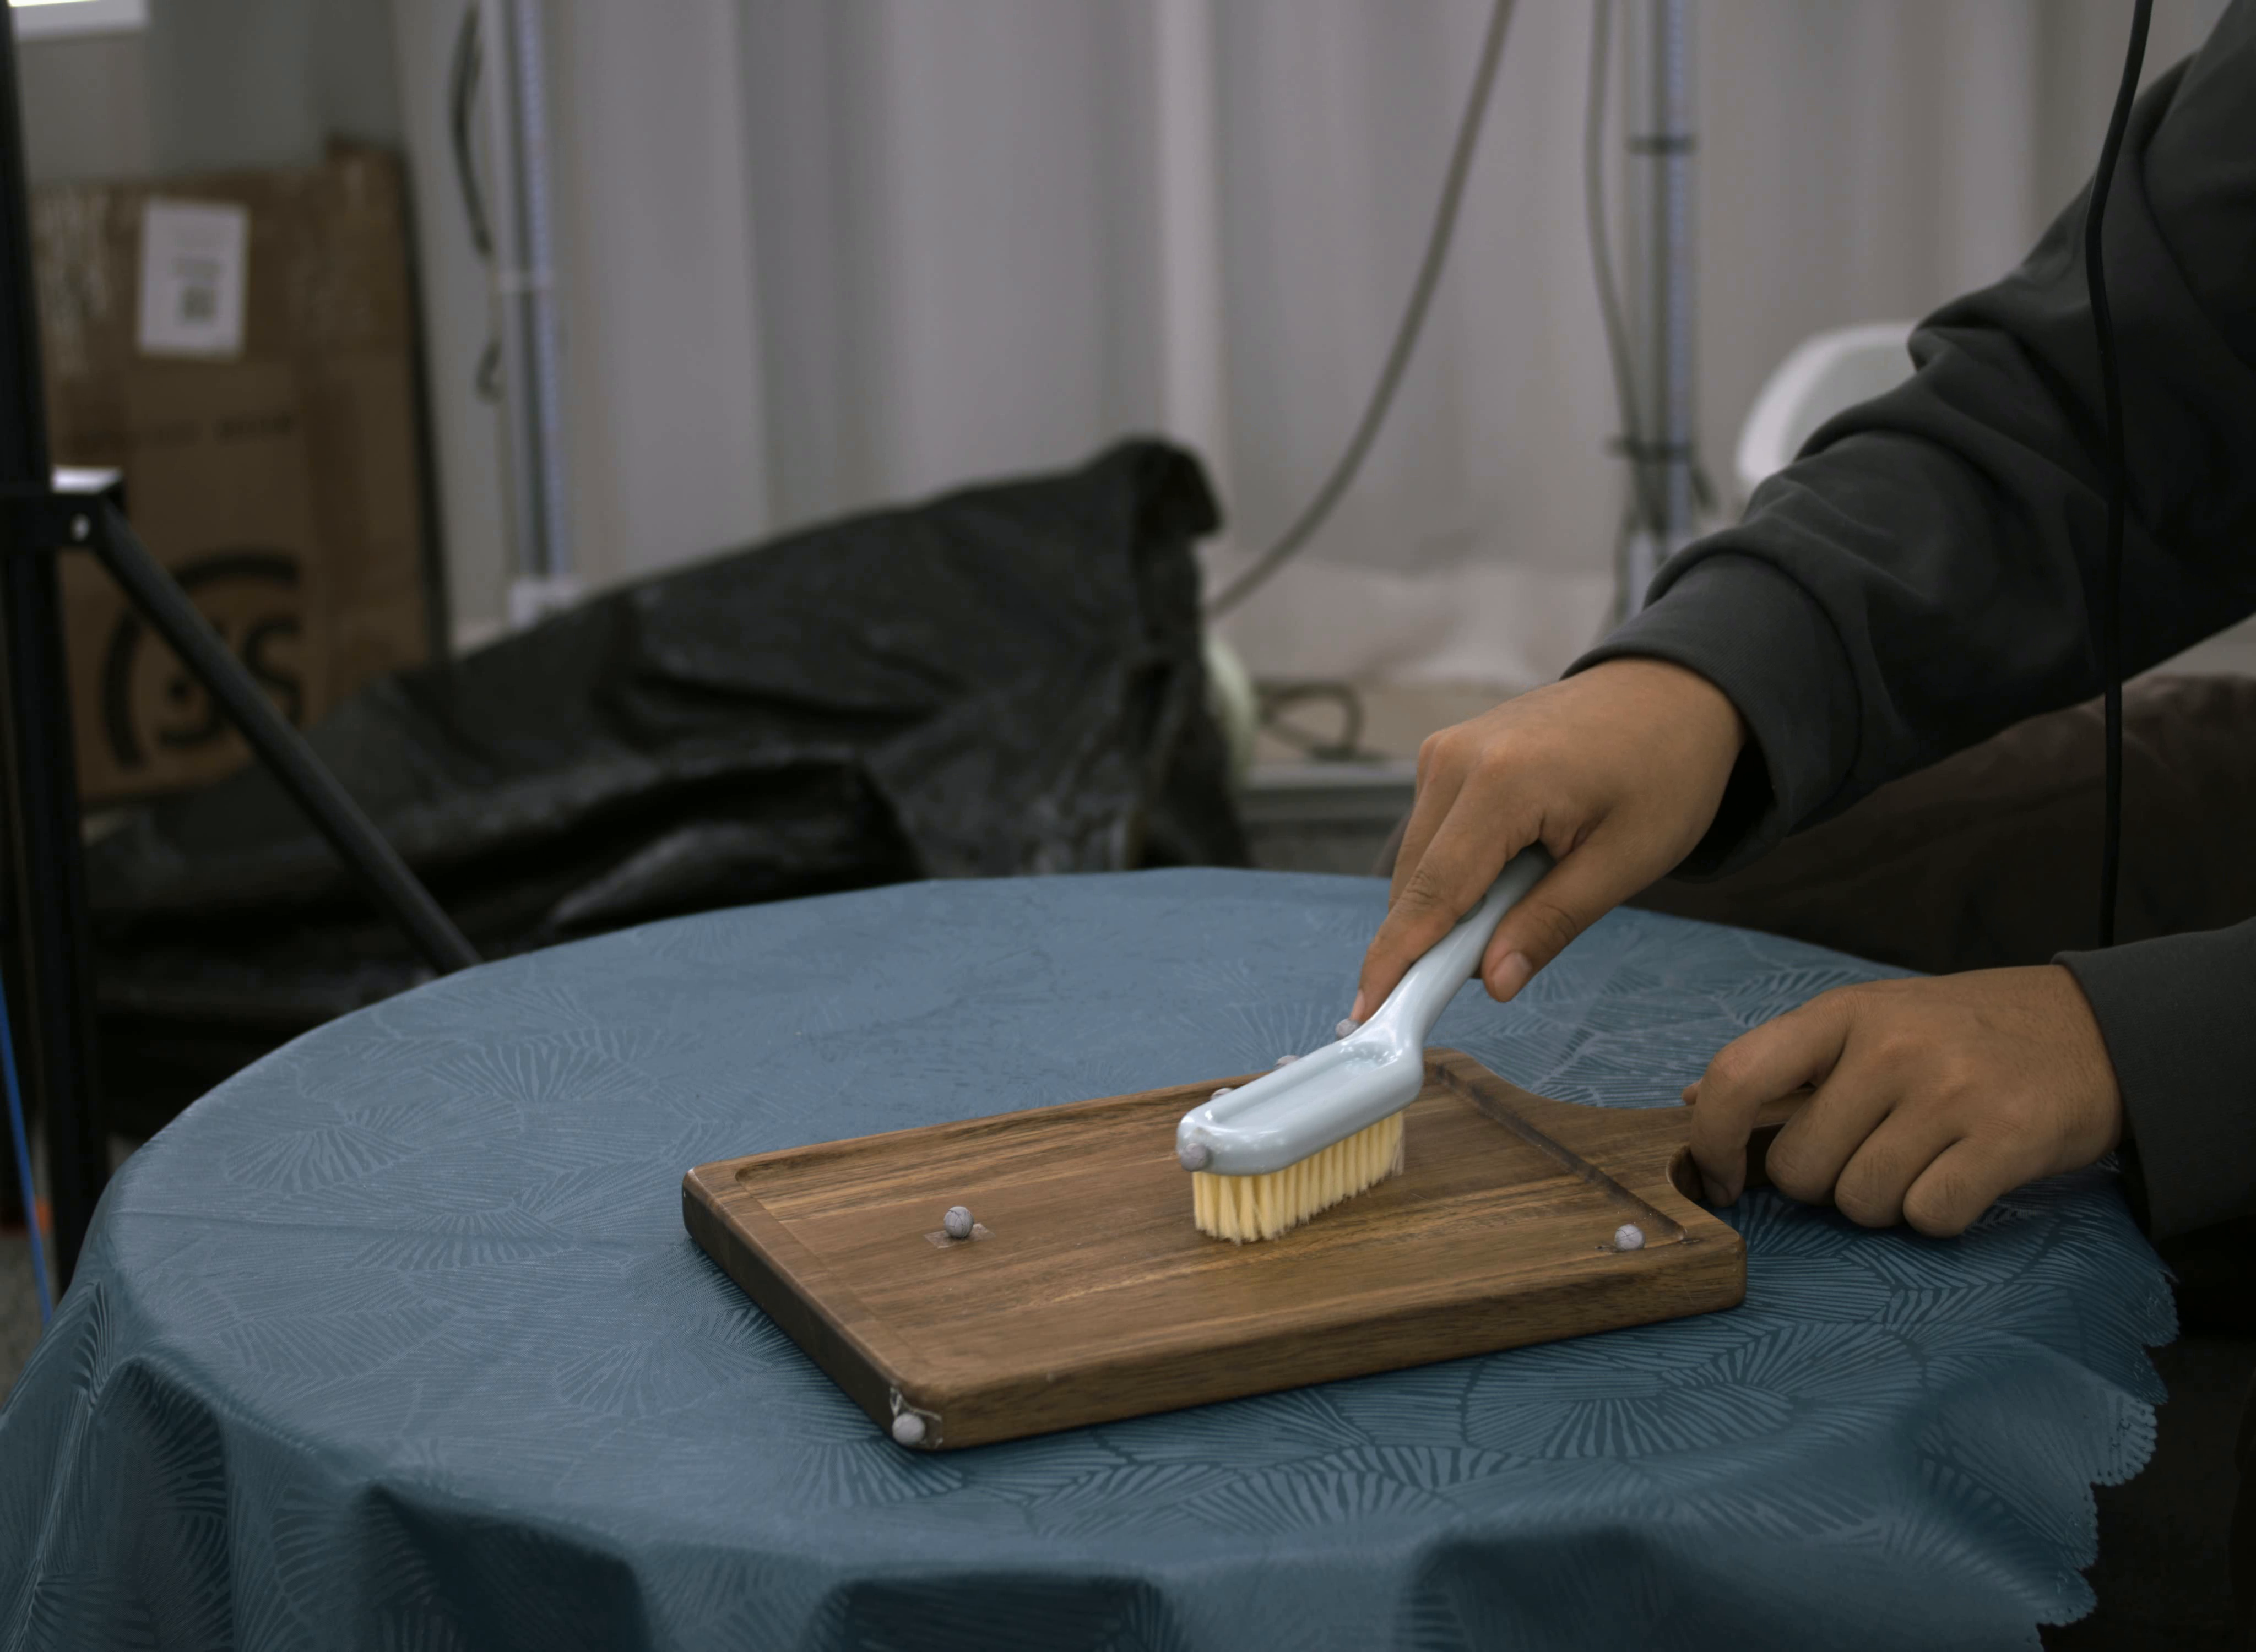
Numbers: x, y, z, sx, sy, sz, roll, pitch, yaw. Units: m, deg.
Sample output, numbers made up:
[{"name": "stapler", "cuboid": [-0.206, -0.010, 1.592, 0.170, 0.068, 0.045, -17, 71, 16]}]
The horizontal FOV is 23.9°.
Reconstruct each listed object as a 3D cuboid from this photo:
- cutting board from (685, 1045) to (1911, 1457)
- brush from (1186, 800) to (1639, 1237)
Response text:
[{"name": "cutting board", "cuboid": [0.068, 0.109, 1.506, 0.346, 0.023, 0.205, -8, 17, -19]}, {"name": "brush", "cuboid": [0.088, 0.054, 1.546, 0.038, 0.049, 0.226, 7, 33, 34]}]
